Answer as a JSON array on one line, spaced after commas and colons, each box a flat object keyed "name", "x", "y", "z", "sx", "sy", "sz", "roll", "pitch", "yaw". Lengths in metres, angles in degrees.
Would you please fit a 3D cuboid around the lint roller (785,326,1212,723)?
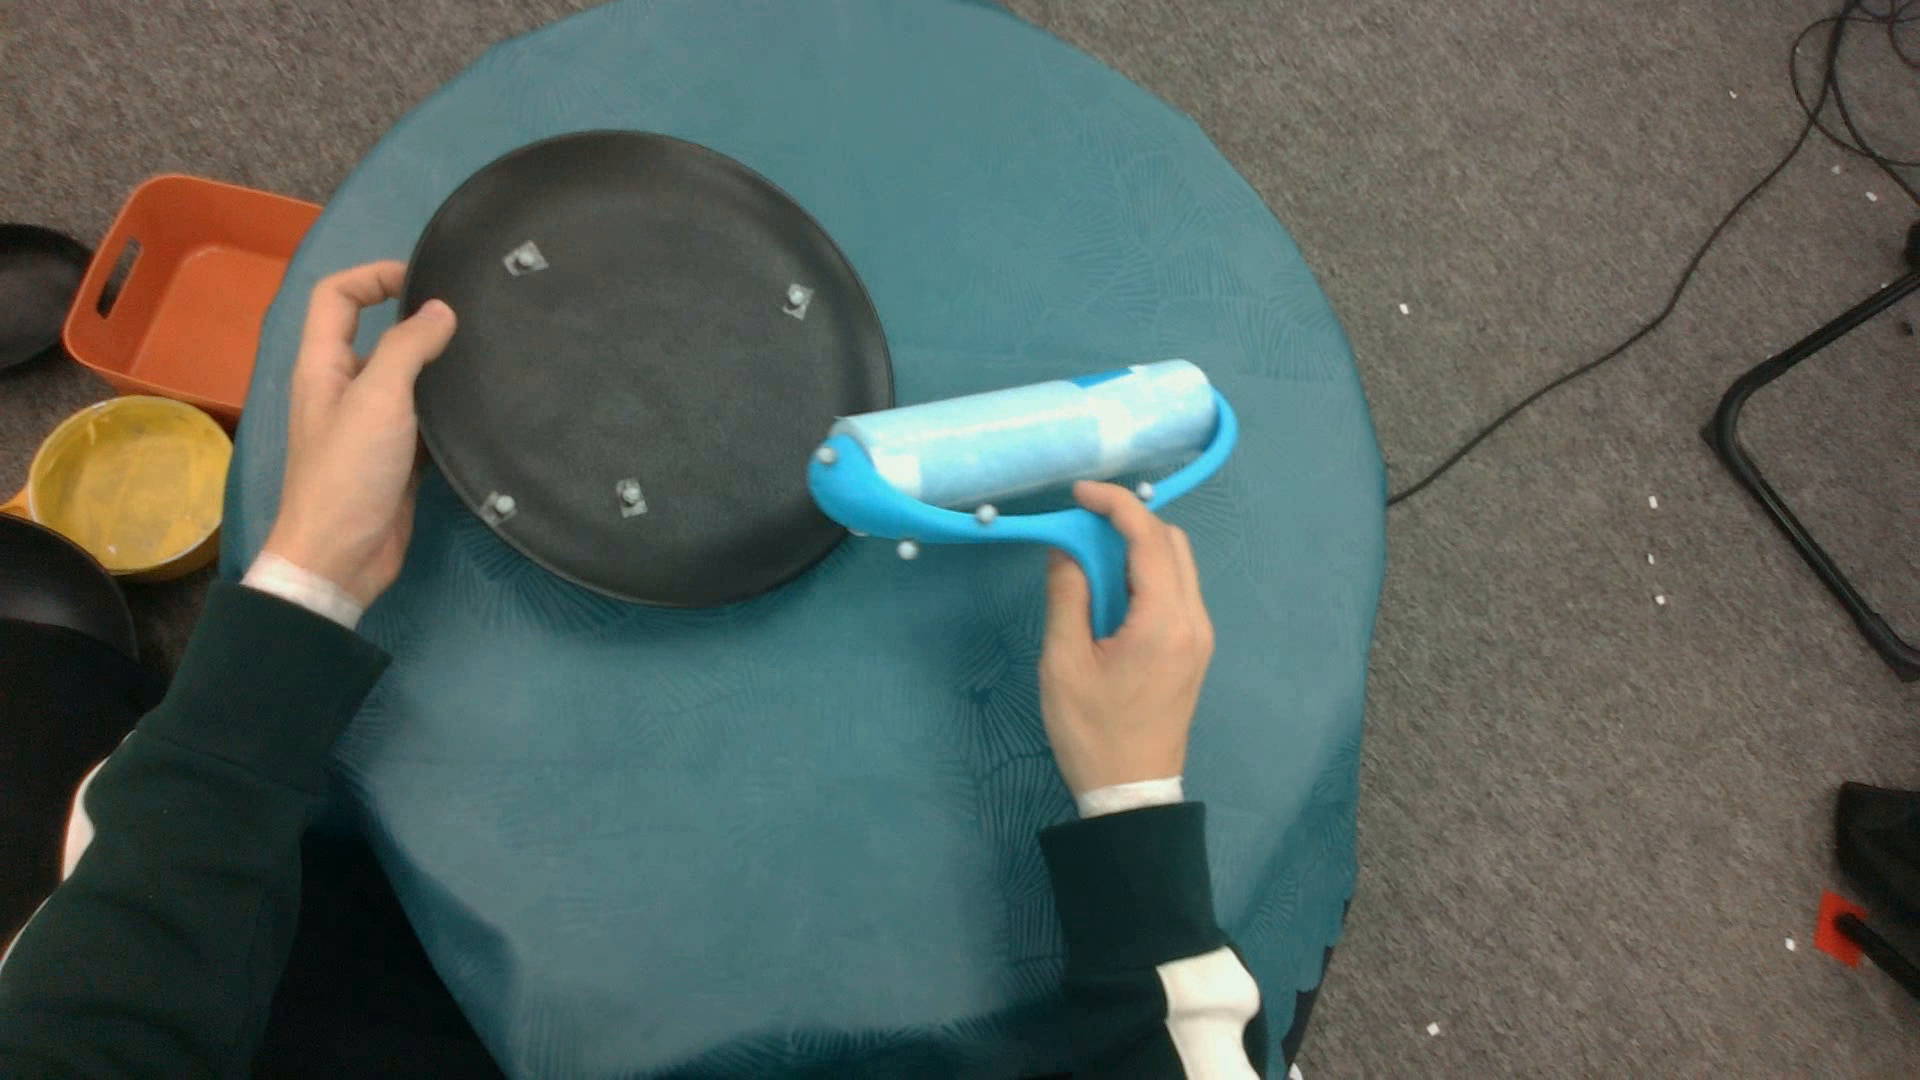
[{"name": "lint roller", "x": 0.045, "y": -0.004, "z": 0.654, "sx": 0.230, "sy": 0.067, "sz": 0.180, "roll": -19, "pitch": 83, "yaw": -32}]

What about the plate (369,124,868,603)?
[{"name": "plate", "x": -0.158, "y": -0.086, "z": 0.671, "sx": 0.245, "sy": 0.023, "sz": 0.245, "roll": 10, "pitch": 71, "yaw": -29}]
